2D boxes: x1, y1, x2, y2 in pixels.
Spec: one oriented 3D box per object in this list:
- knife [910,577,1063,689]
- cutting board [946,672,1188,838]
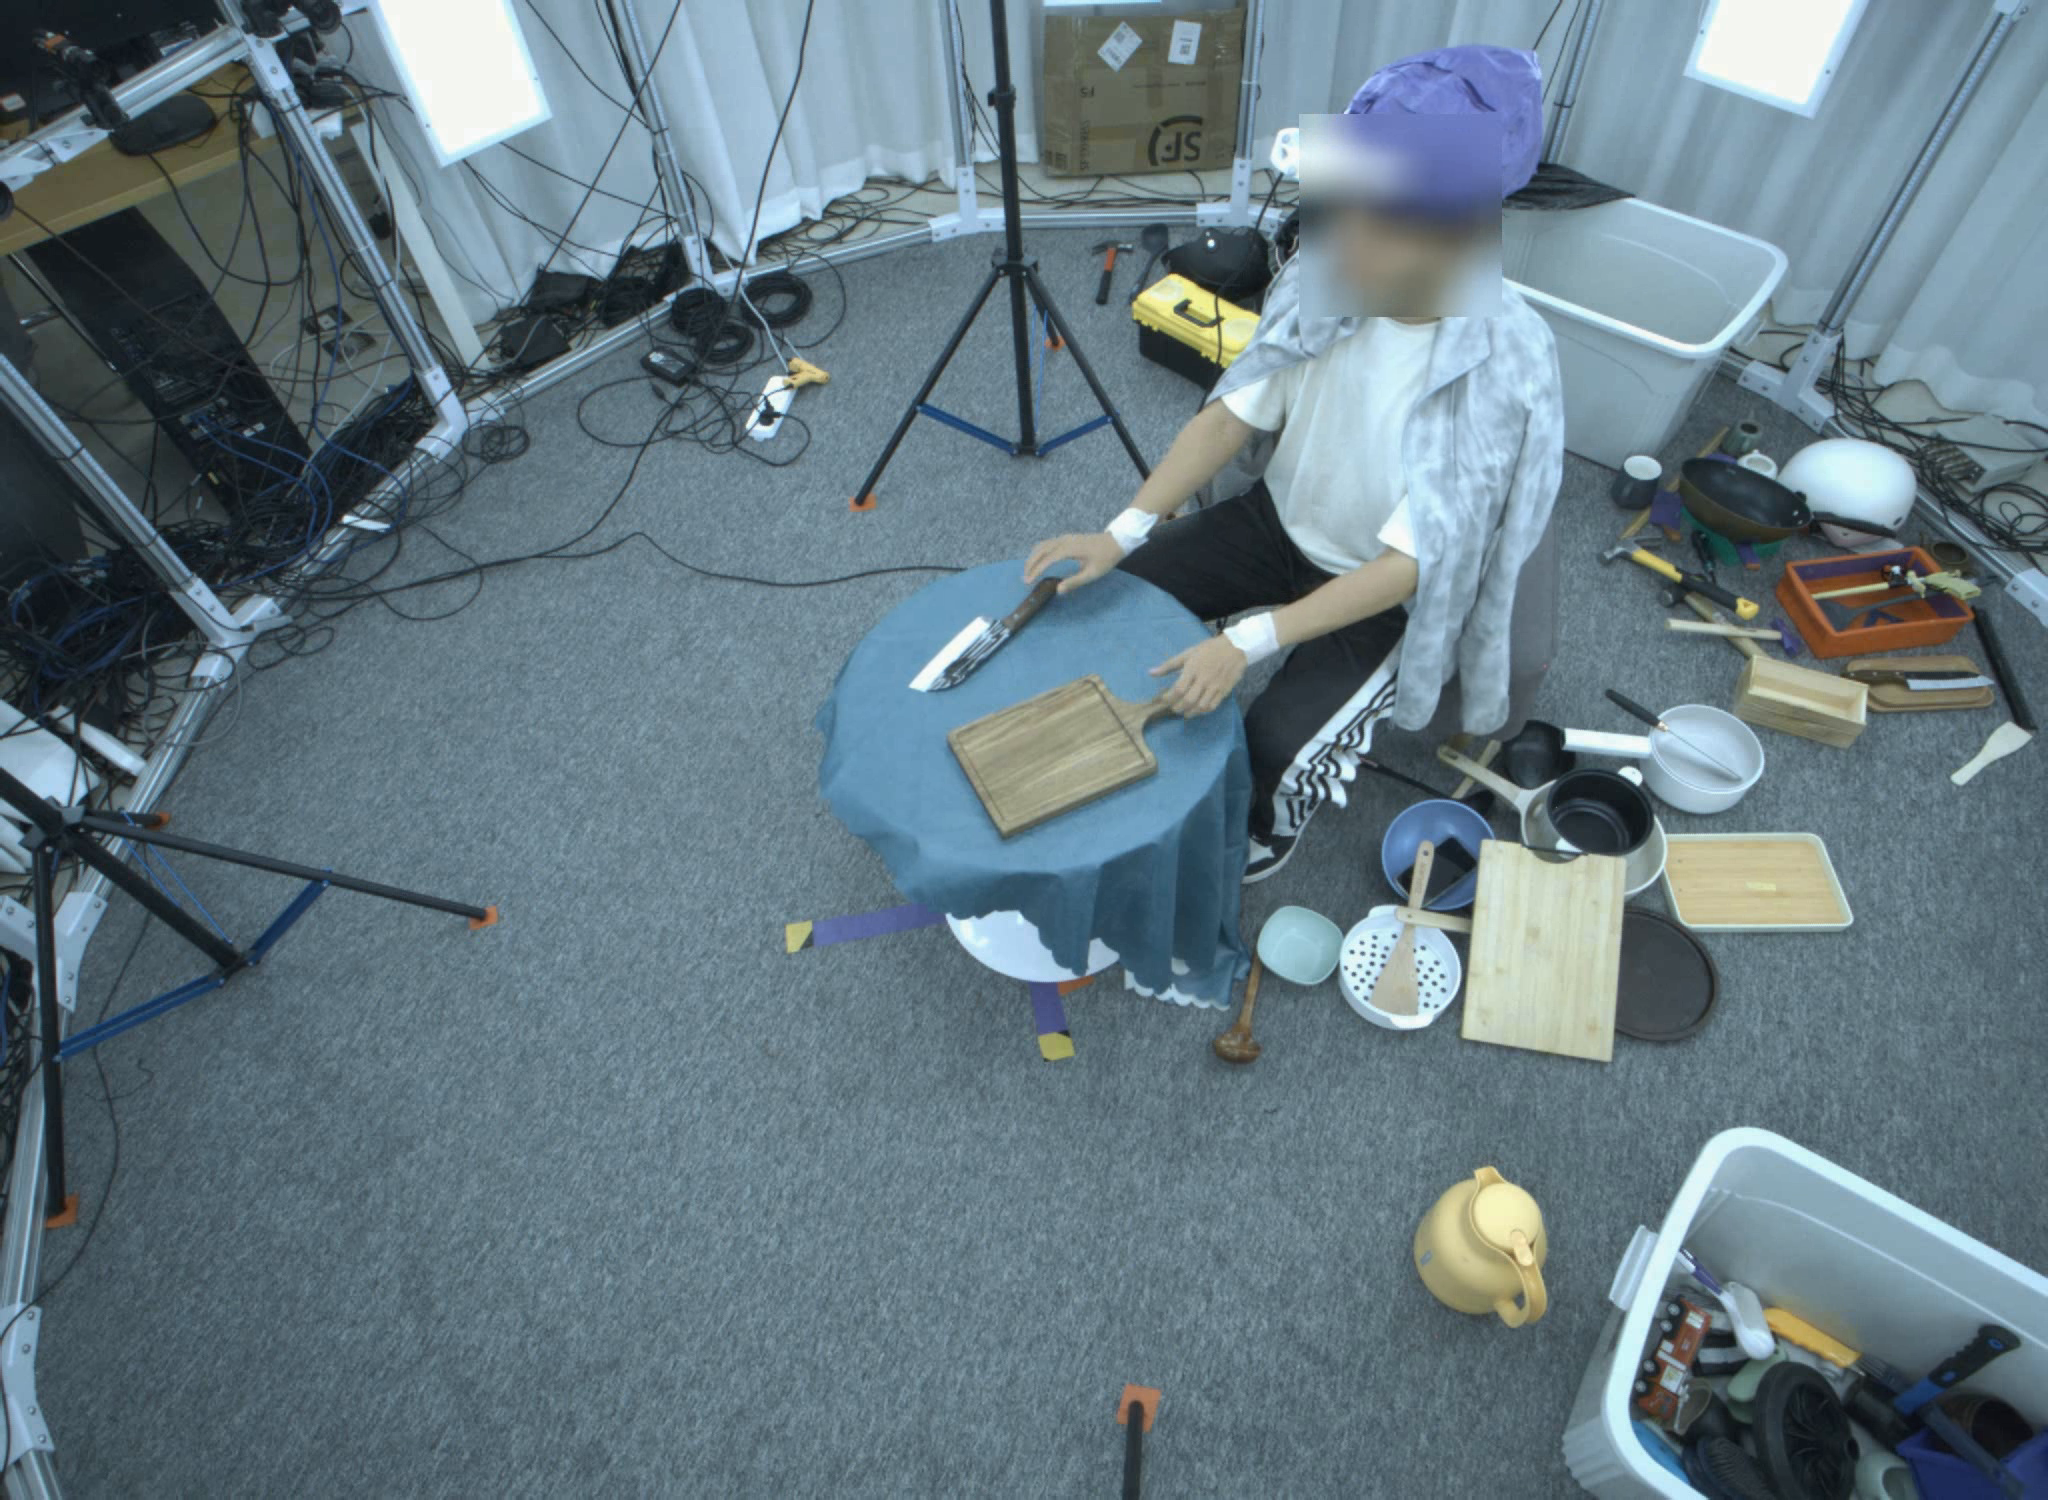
[{"bbox_3d":[-0.057,-0.184,1.910,0.067,0.024,0.301,35,65,26],"label":"knife"},{"bbox_3d":[0.083,-0.017,1.786,0.355,0.023,0.197,-23,58,-14],"label":"cutting board"}]
